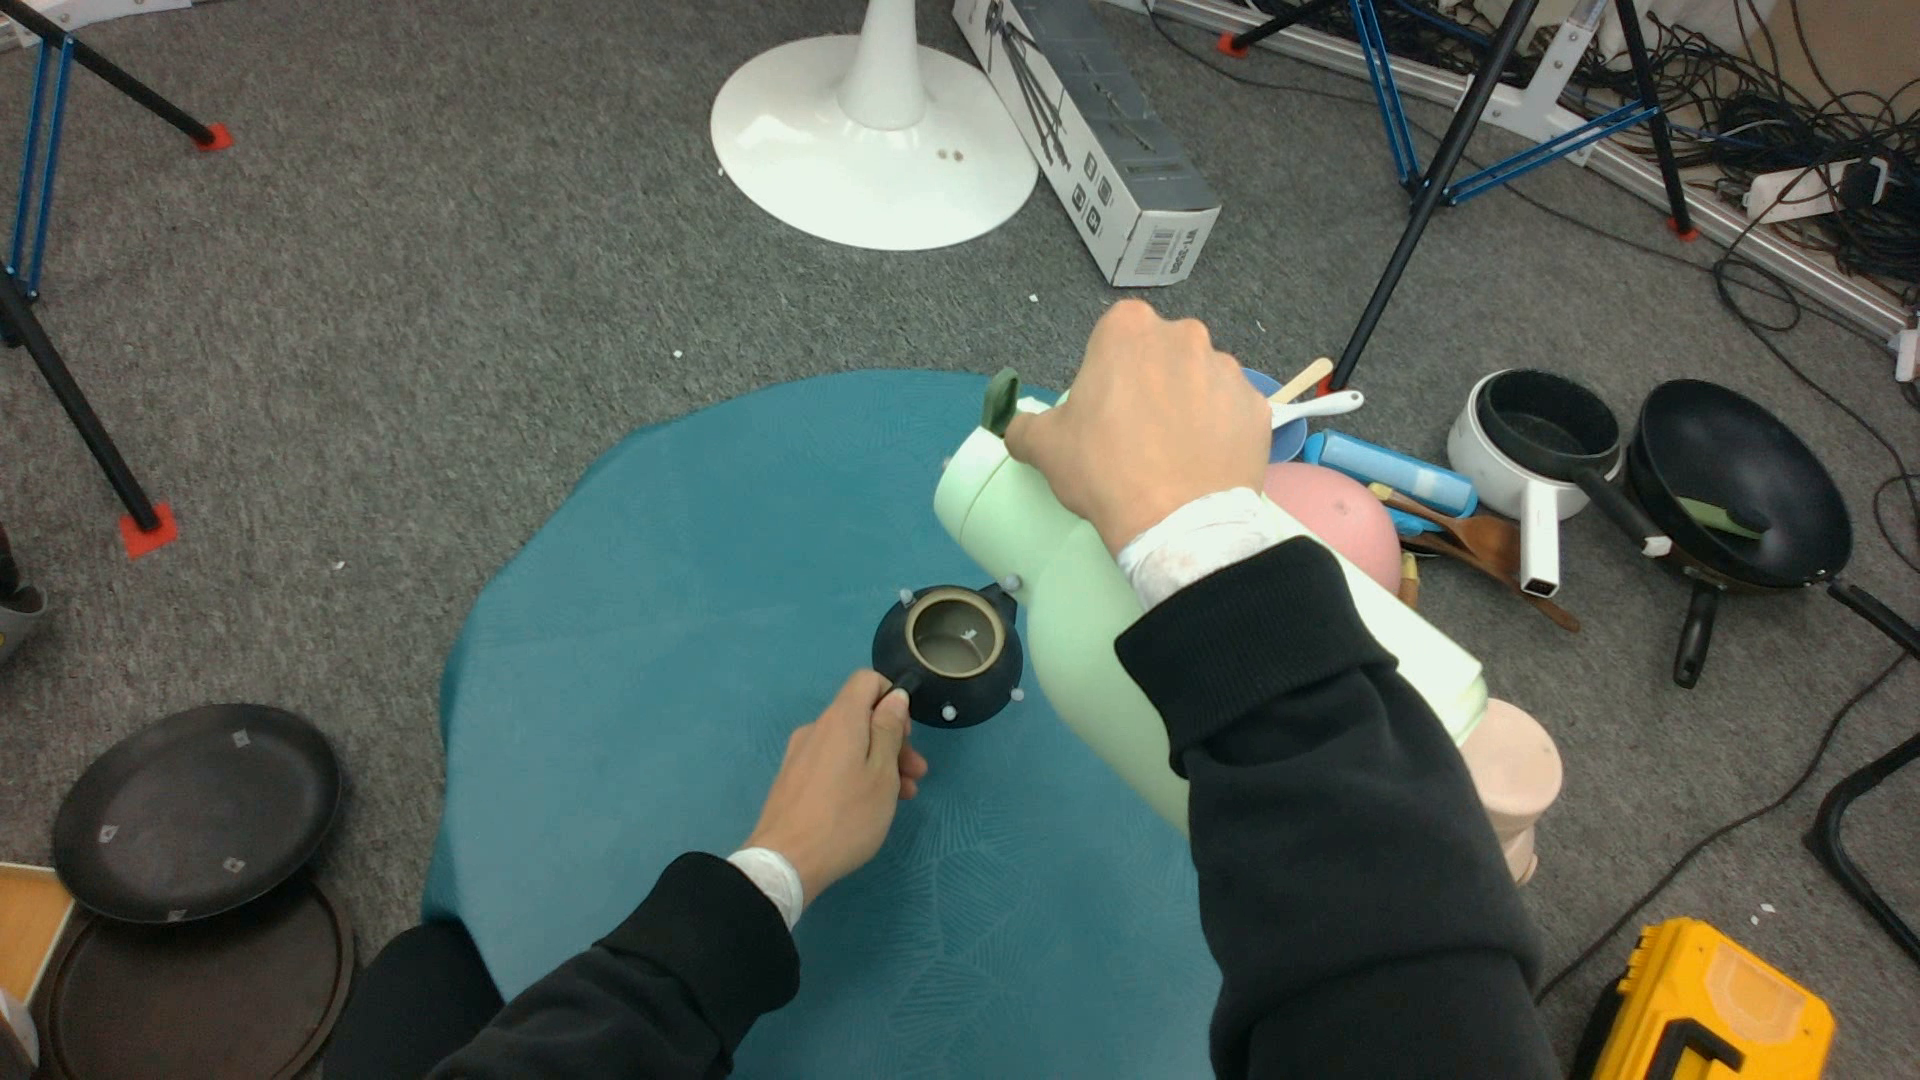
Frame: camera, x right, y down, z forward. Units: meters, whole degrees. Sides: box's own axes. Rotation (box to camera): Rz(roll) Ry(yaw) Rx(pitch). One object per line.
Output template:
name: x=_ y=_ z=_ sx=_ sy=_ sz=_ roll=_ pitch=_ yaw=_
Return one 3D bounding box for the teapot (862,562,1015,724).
teapot: x=-0.013 y=0.063 z=0.812 sx=0.091 sy=0.053 sz=0.134 roll=37 pitch=56 yaw=16

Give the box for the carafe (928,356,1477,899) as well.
carafe: x=0.099 y=0.025 z=0.628 sx=0.257 sy=0.186 sz=0.145 roll=43 pitch=64 yaw=15
